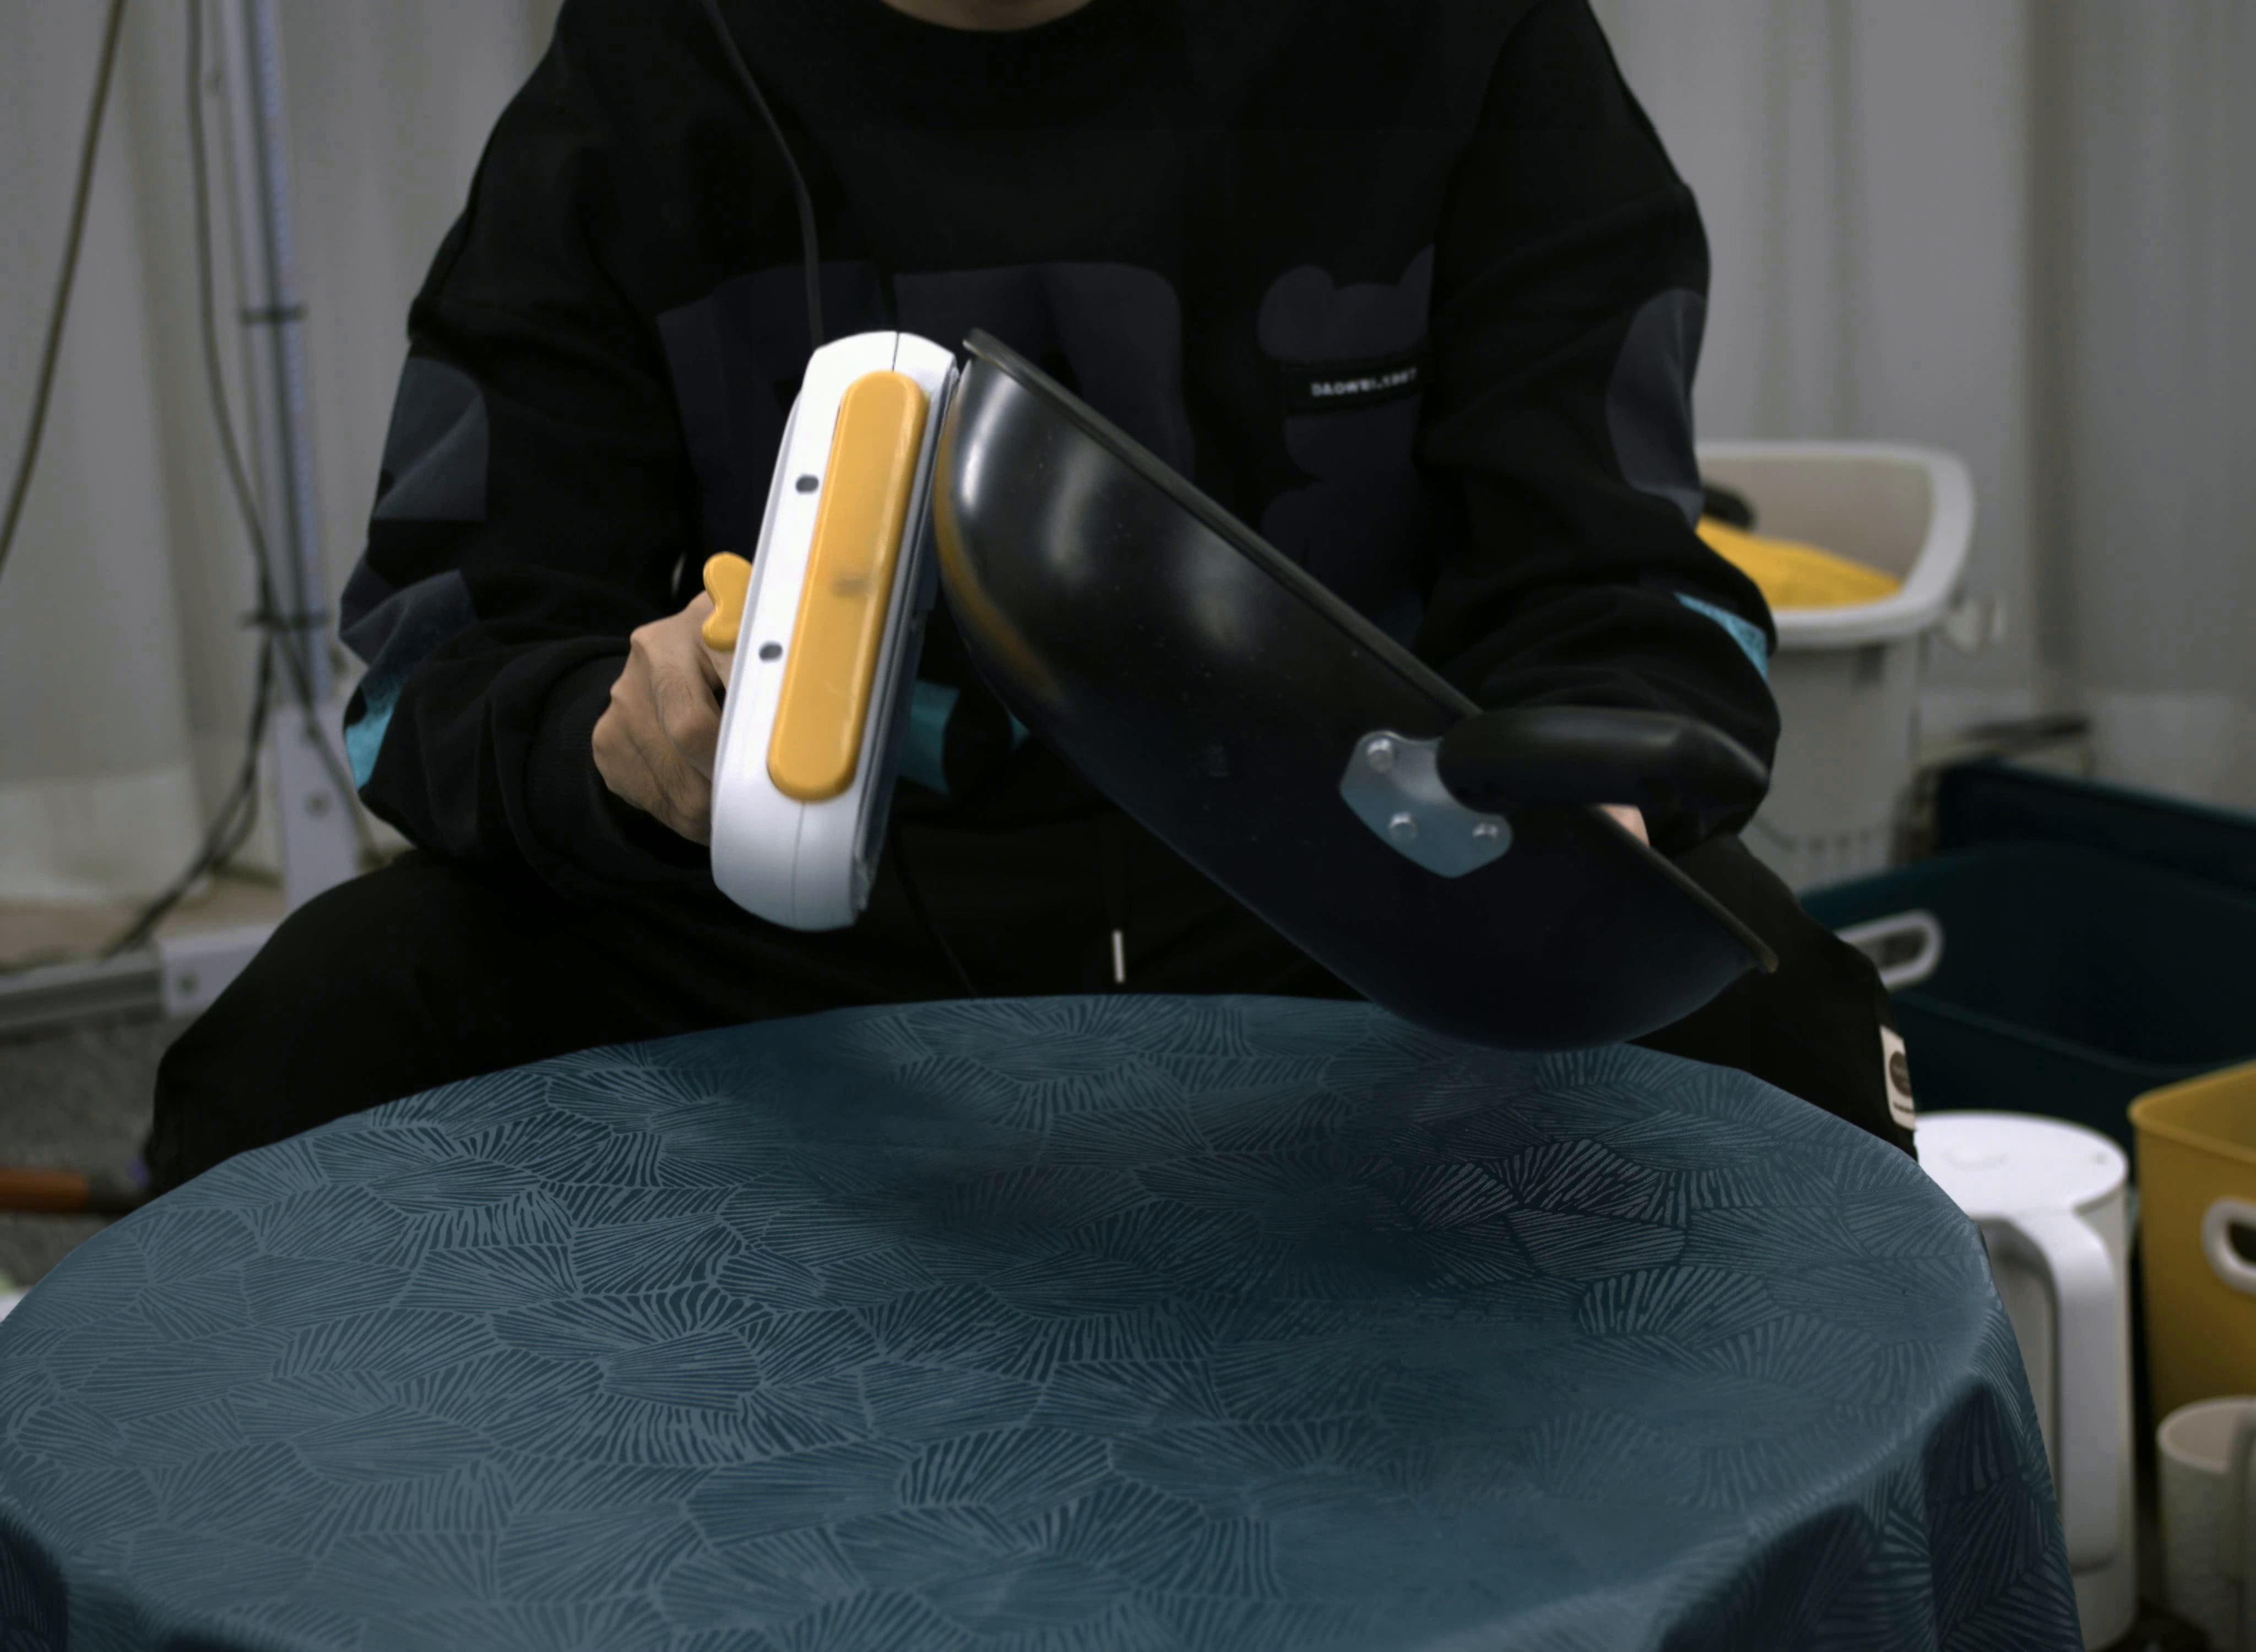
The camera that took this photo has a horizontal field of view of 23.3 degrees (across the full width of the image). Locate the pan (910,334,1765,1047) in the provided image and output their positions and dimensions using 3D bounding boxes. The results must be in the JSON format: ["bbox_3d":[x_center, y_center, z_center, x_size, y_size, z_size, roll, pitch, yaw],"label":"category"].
[{"bbox_3d":[0.067,-0.017,1.571,0.308,0.111,0.480,37,2,-14],"label":"pan"}]

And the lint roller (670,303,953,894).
[{"bbox_3d":[-0.106,-0.047,1.736,0.074,0.195,0.190,9,-28,-7],"label":"lint roller"}]
